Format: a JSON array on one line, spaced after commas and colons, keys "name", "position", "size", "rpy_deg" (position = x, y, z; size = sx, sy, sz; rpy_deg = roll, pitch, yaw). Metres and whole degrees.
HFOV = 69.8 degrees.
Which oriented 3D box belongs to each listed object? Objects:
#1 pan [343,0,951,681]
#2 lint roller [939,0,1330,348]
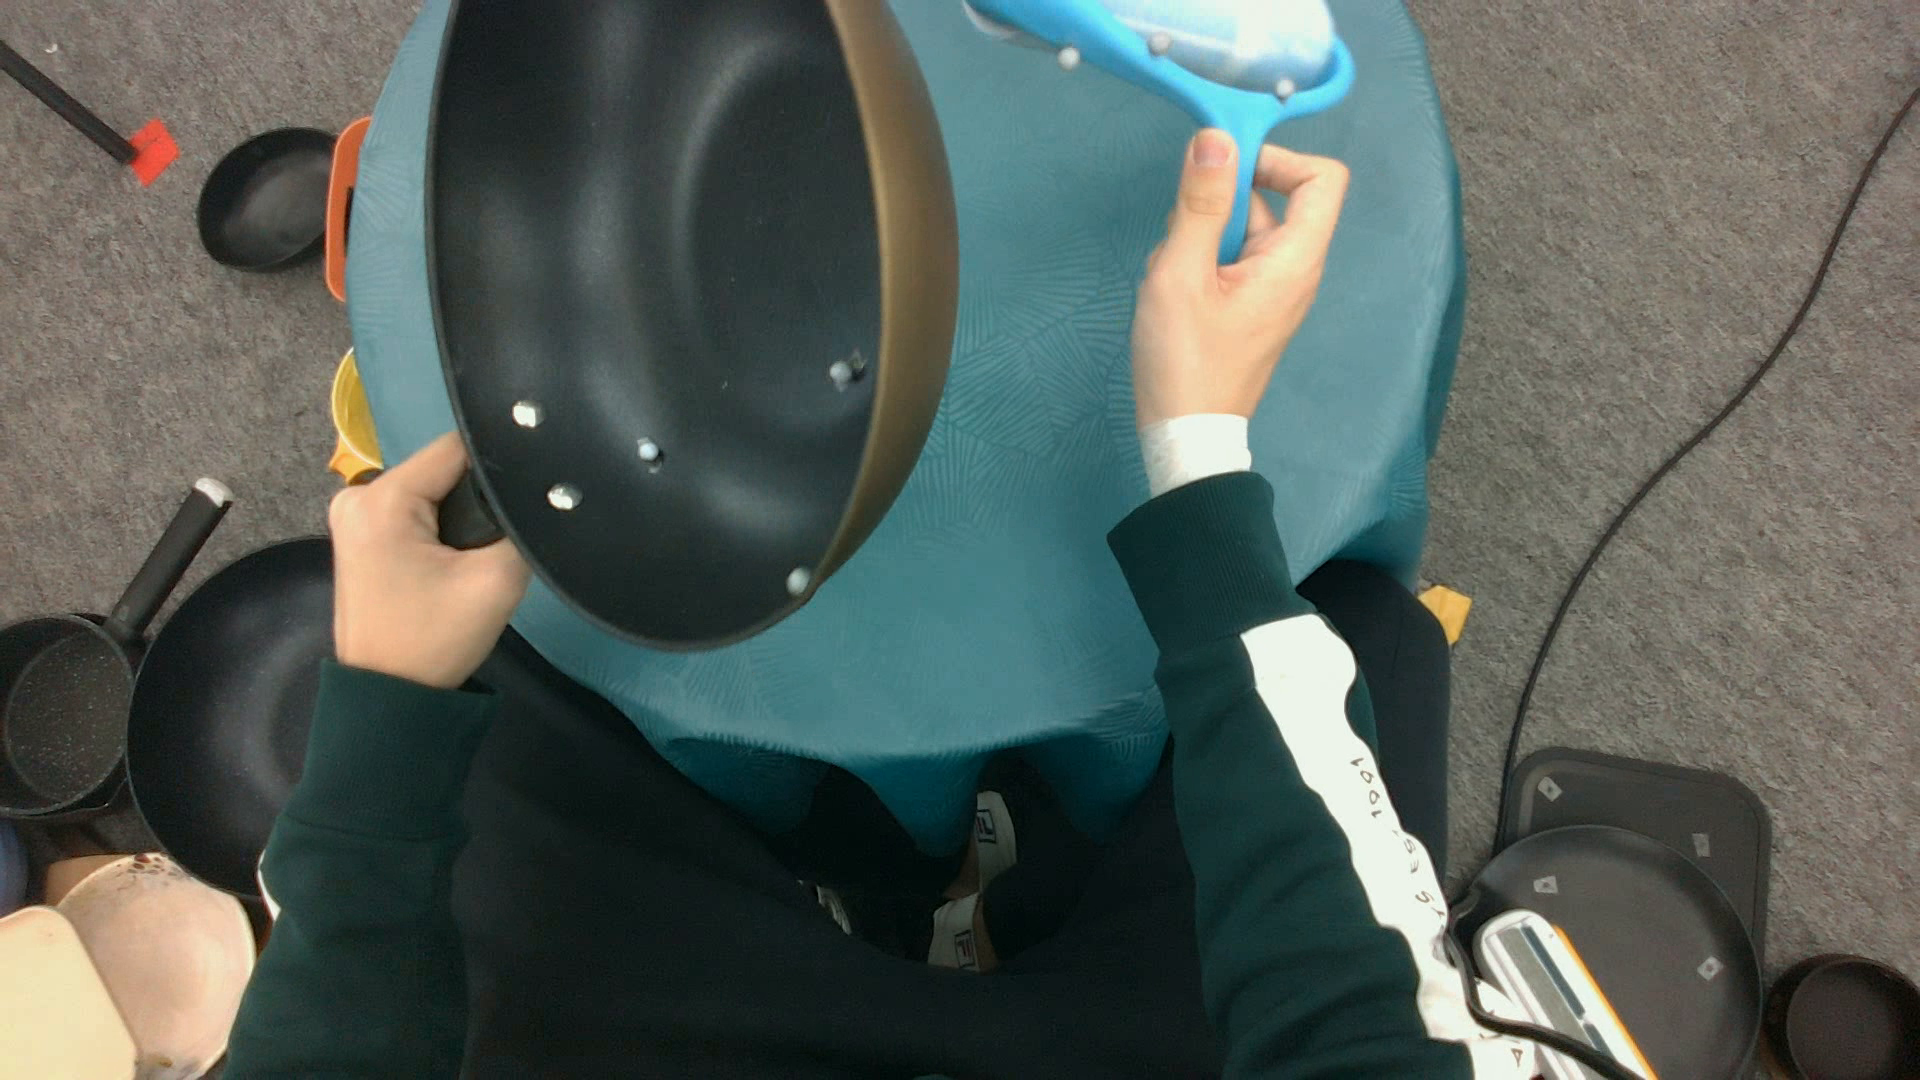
[{"name": "pan", "position": [-0.146, -0.057, 0.553], "size": [0.461, 0.087, 0.288], "rpy_deg": [-44, 67, 40]}, {"name": "lint roller", "position": [0.090, -0.179, 0.604], "size": [0.230, 0.067, 0.180], "rpy_deg": [-12, 90, -43]}]
